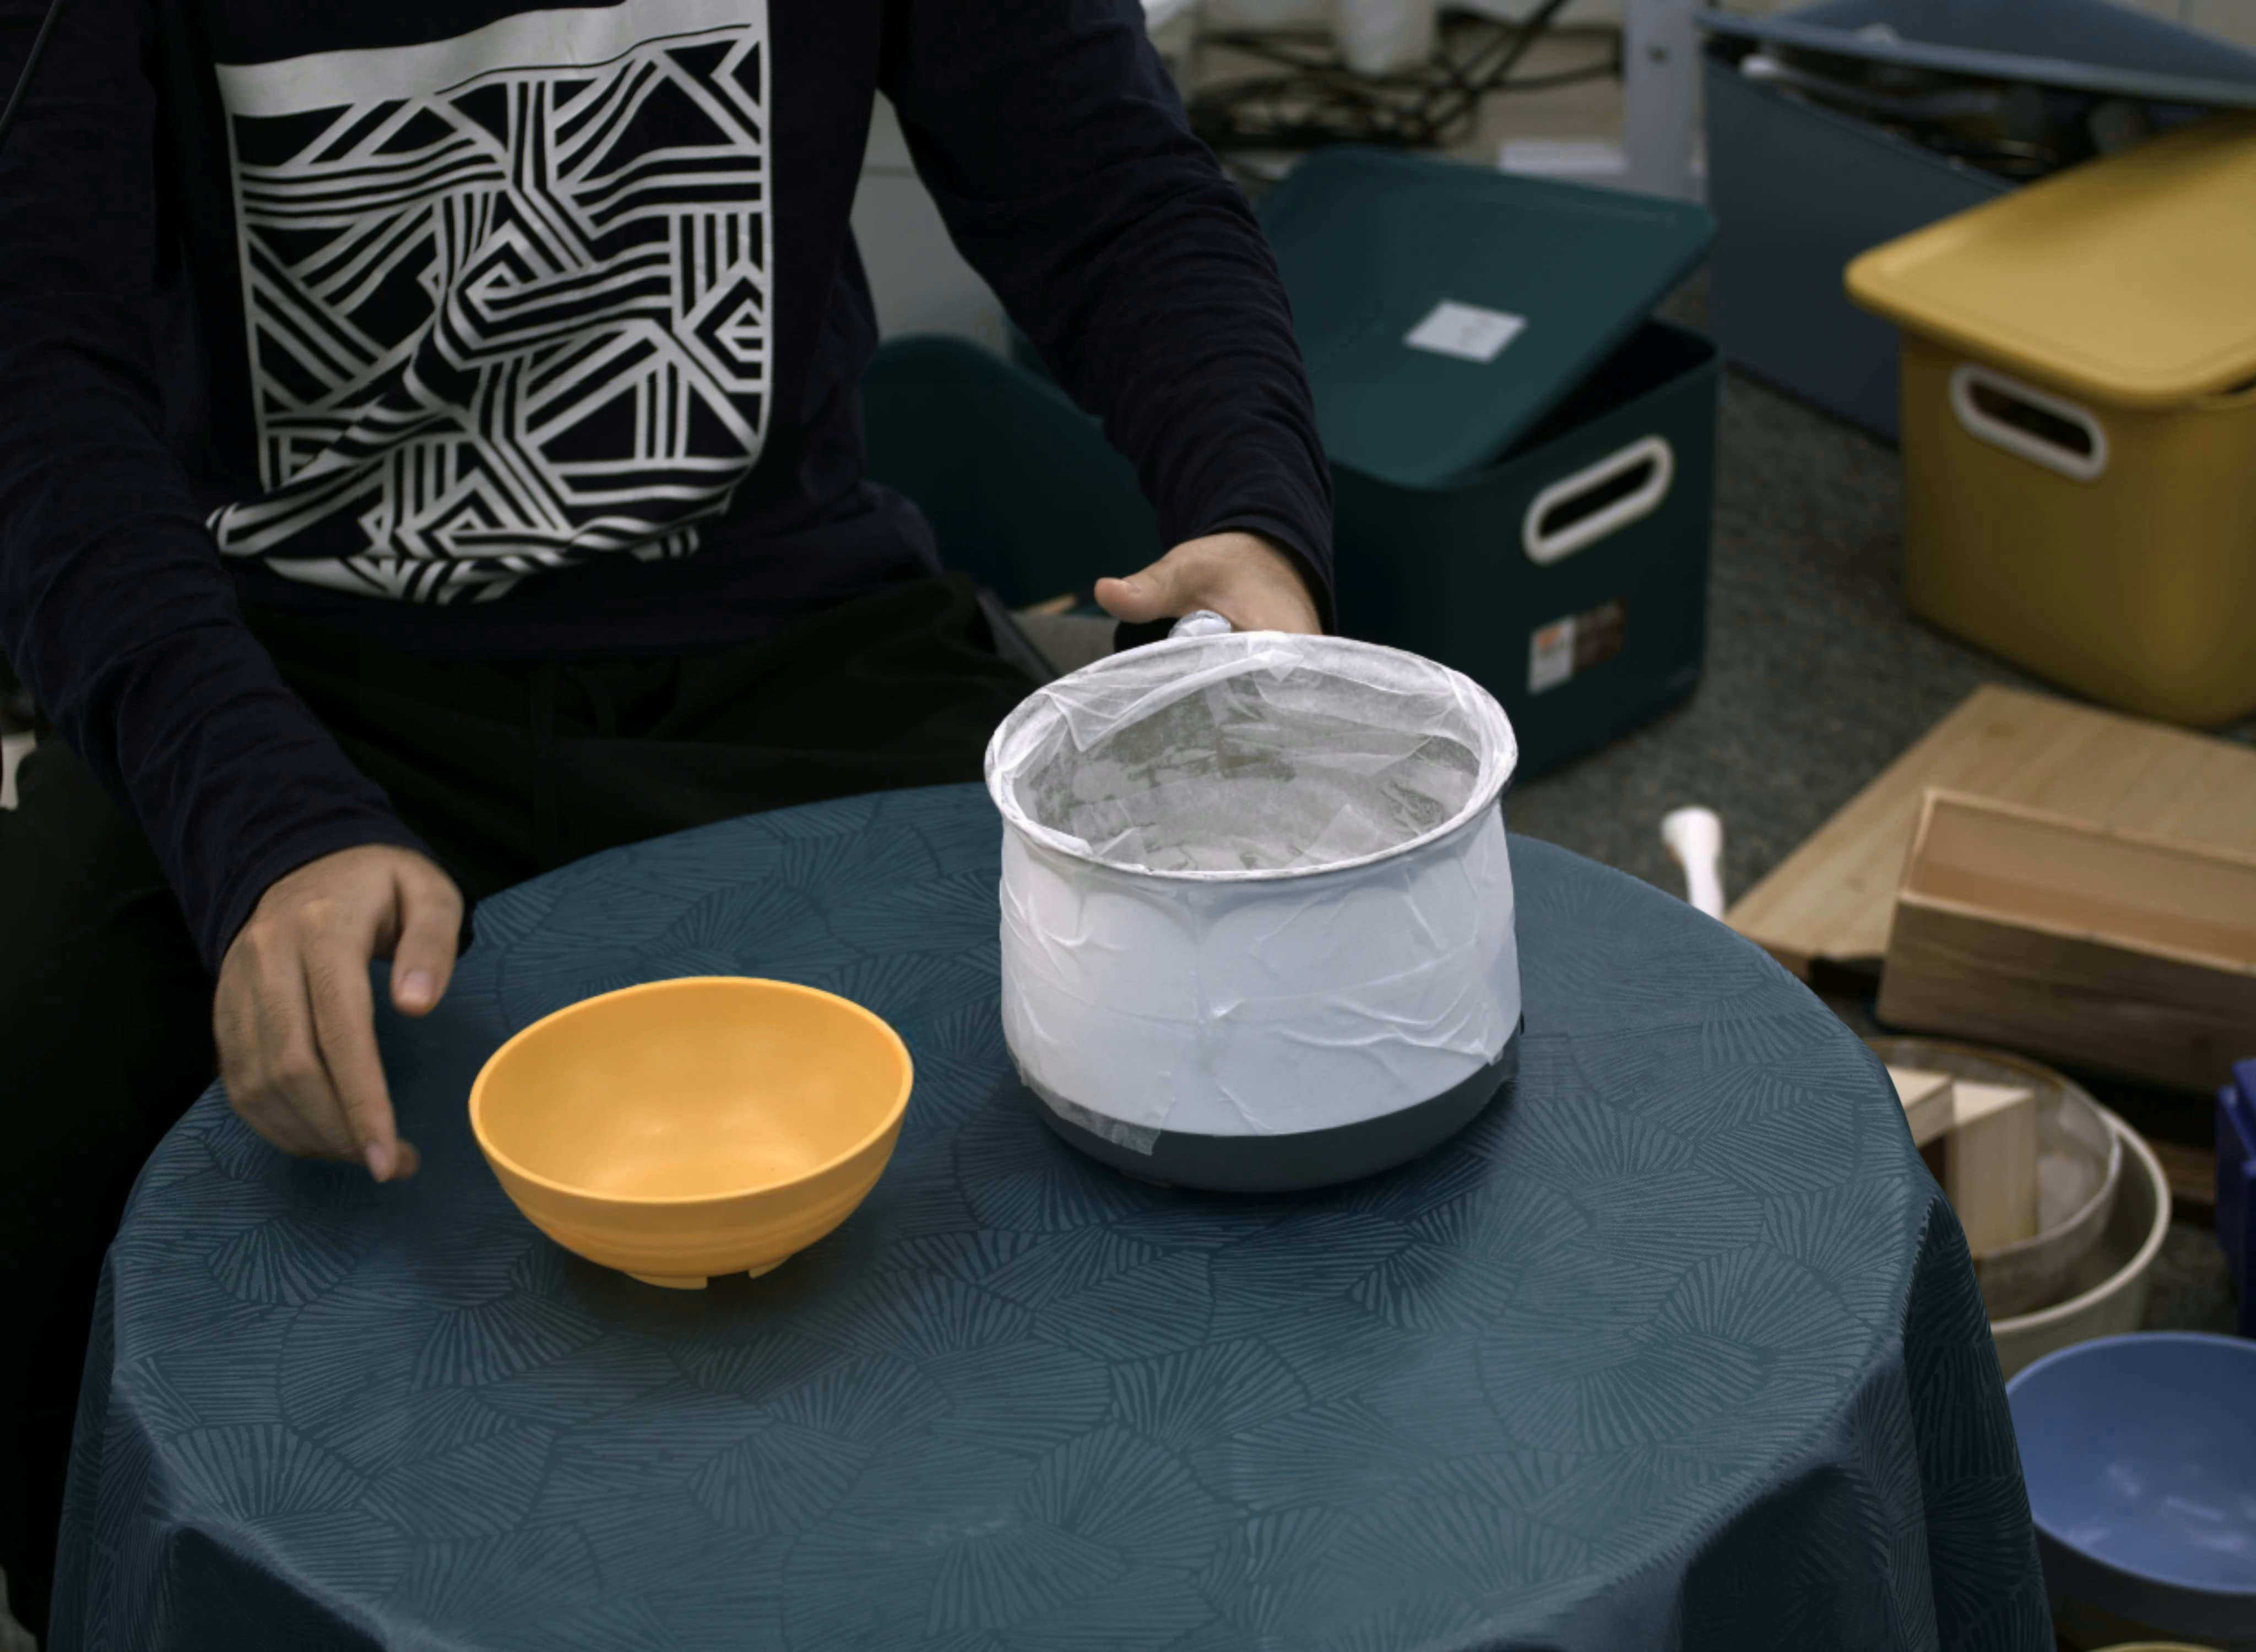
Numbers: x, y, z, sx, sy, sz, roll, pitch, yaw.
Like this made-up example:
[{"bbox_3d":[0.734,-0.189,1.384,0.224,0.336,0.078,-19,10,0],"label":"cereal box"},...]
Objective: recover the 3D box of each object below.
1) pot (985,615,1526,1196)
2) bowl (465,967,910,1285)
[{"bbox_3d":[0.040,0.020,1.912,0.178,0.135,0.236,-7,26,-7],"label":"pot"},{"bbox_3d":[-0.142,0.108,1.834,0.144,0.059,0.147,-1,28,1],"label":"bowl"}]
